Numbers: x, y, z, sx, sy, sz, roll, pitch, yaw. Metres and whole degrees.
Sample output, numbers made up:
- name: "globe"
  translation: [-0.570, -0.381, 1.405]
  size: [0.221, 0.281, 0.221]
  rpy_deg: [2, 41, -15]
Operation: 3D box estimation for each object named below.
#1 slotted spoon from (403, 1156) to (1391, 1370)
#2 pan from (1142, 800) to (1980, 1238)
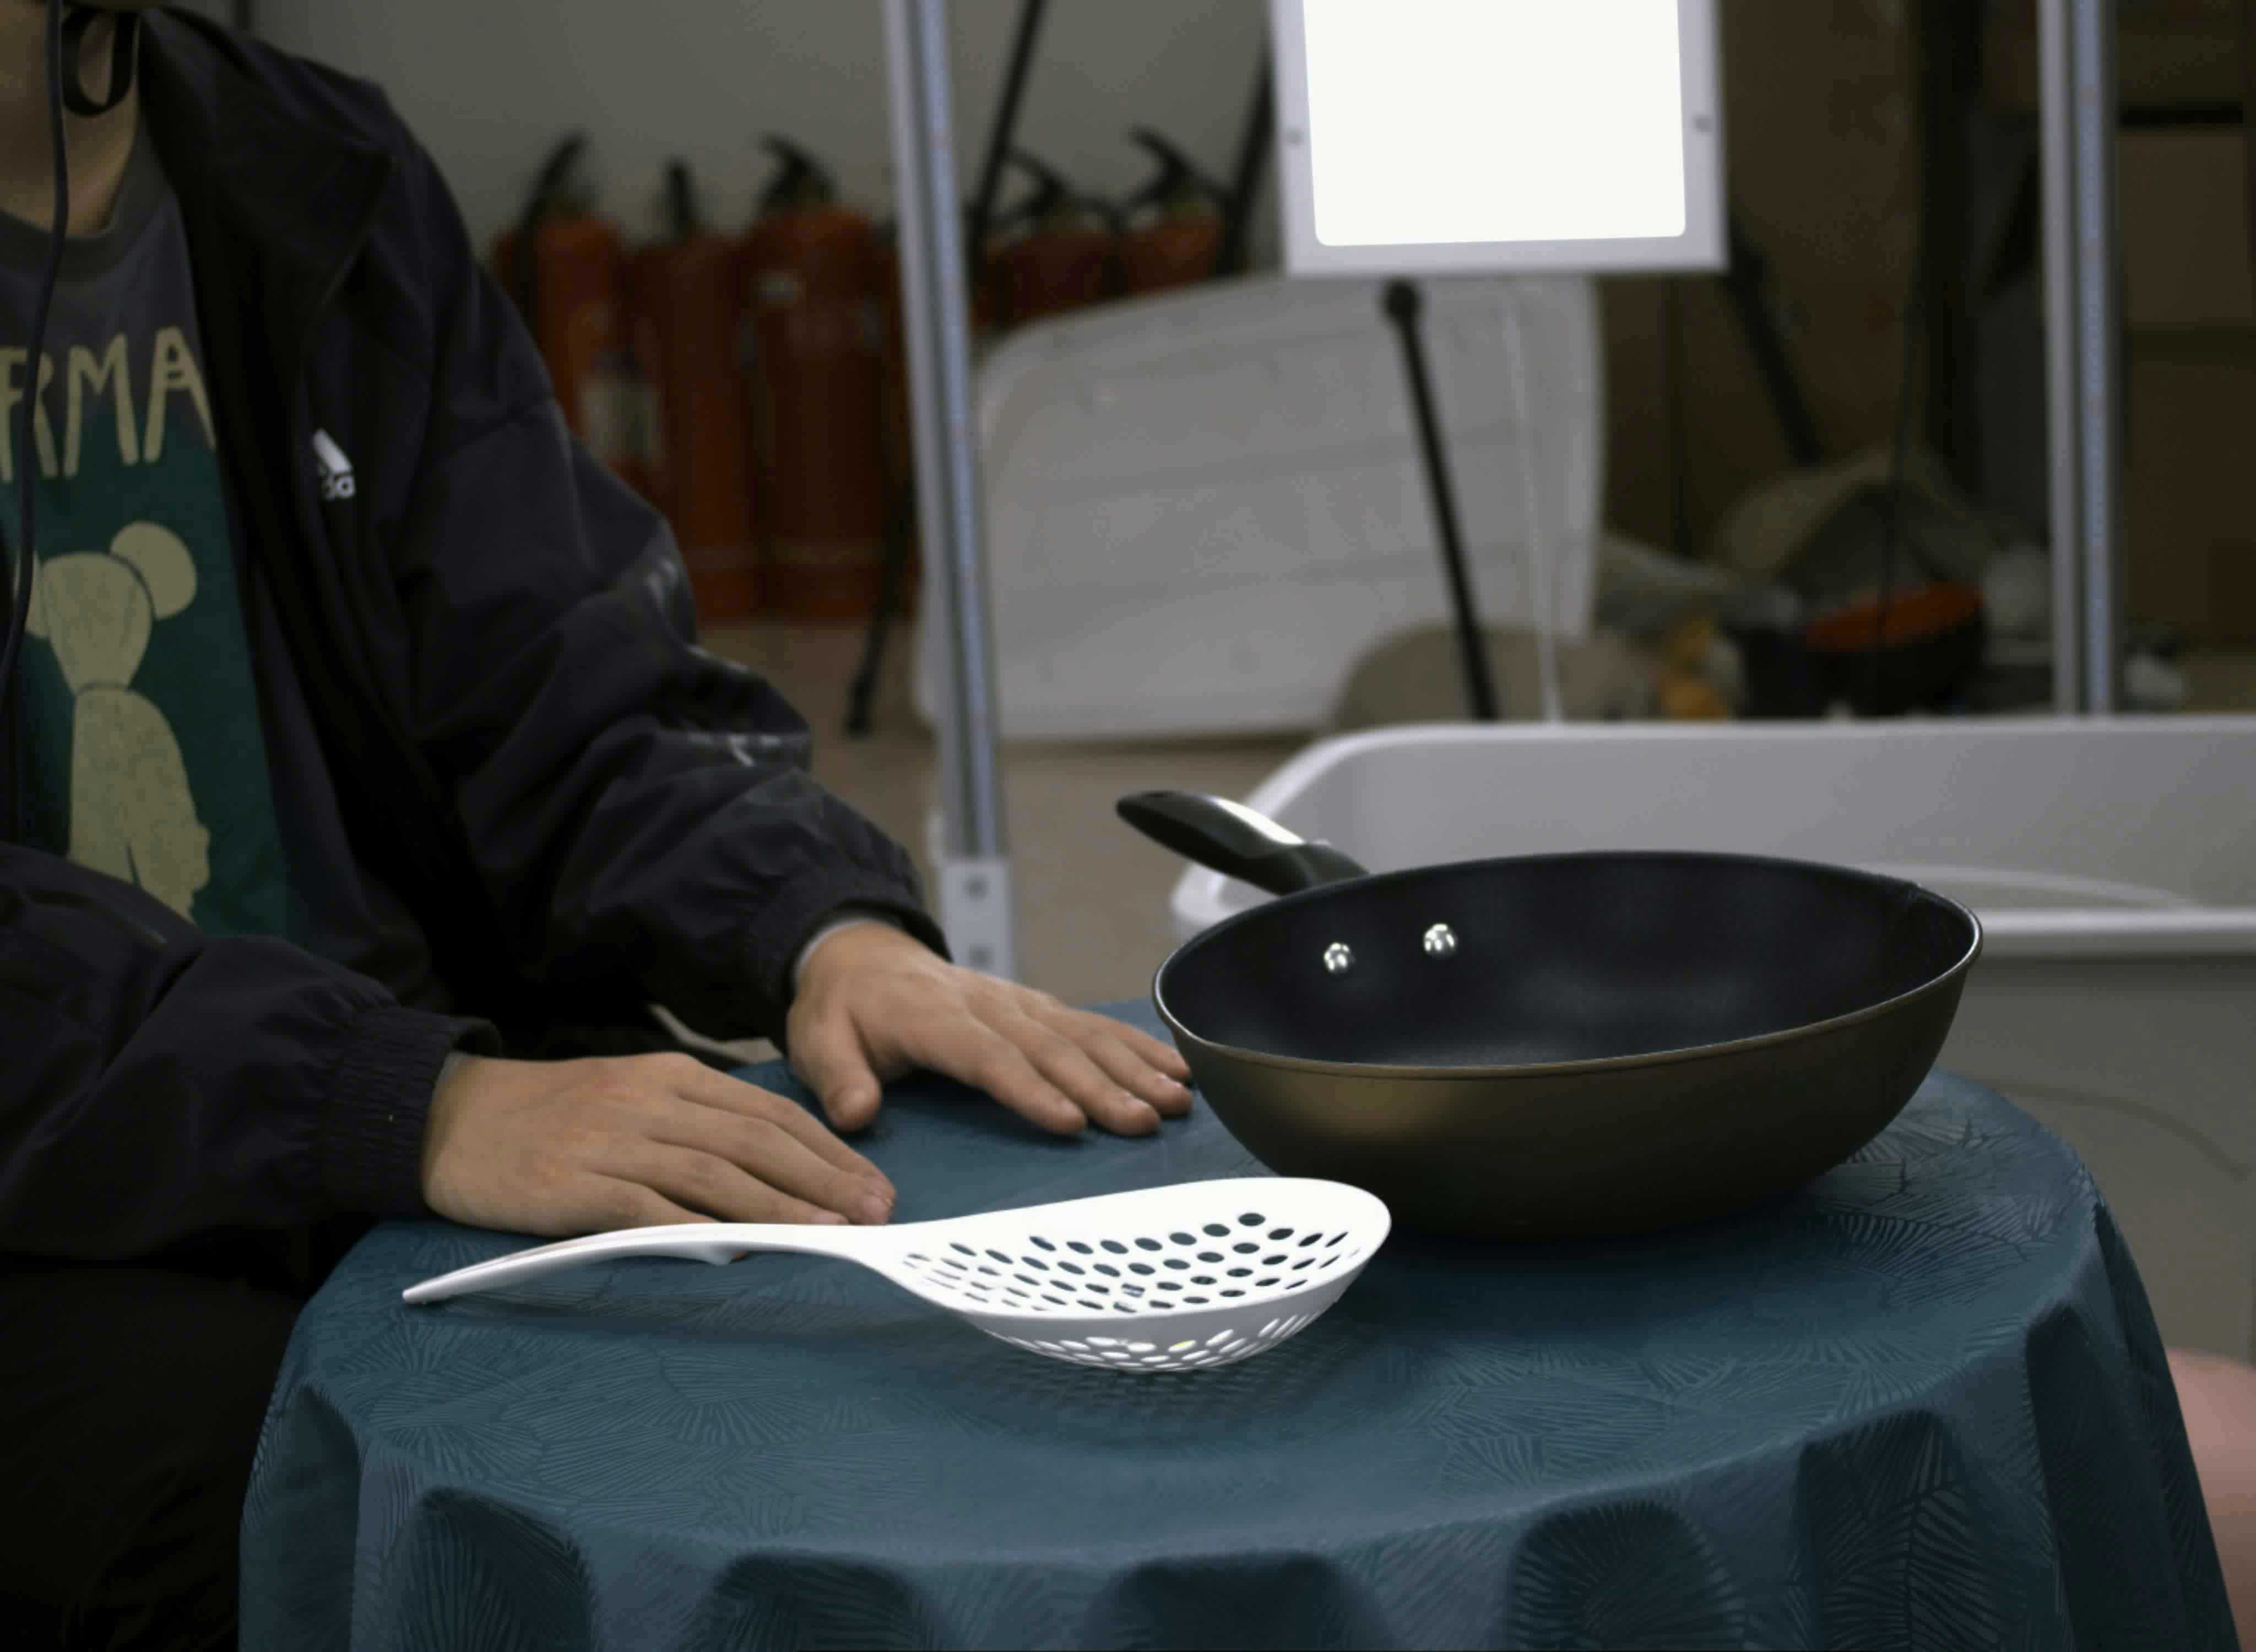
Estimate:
- name: "slotted spoon"
  translation: [-0.082, 0.144, 1.771]
  size: [0.354, 0.050, 0.134]
  rpy_deg: [1, 17, 27]
- name: "pan"
  translation: [0.110, 0.064, 1.941]
  size: [0.282, 0.087, 0.471]
  rpy_deg: [-11, 13, -23]
